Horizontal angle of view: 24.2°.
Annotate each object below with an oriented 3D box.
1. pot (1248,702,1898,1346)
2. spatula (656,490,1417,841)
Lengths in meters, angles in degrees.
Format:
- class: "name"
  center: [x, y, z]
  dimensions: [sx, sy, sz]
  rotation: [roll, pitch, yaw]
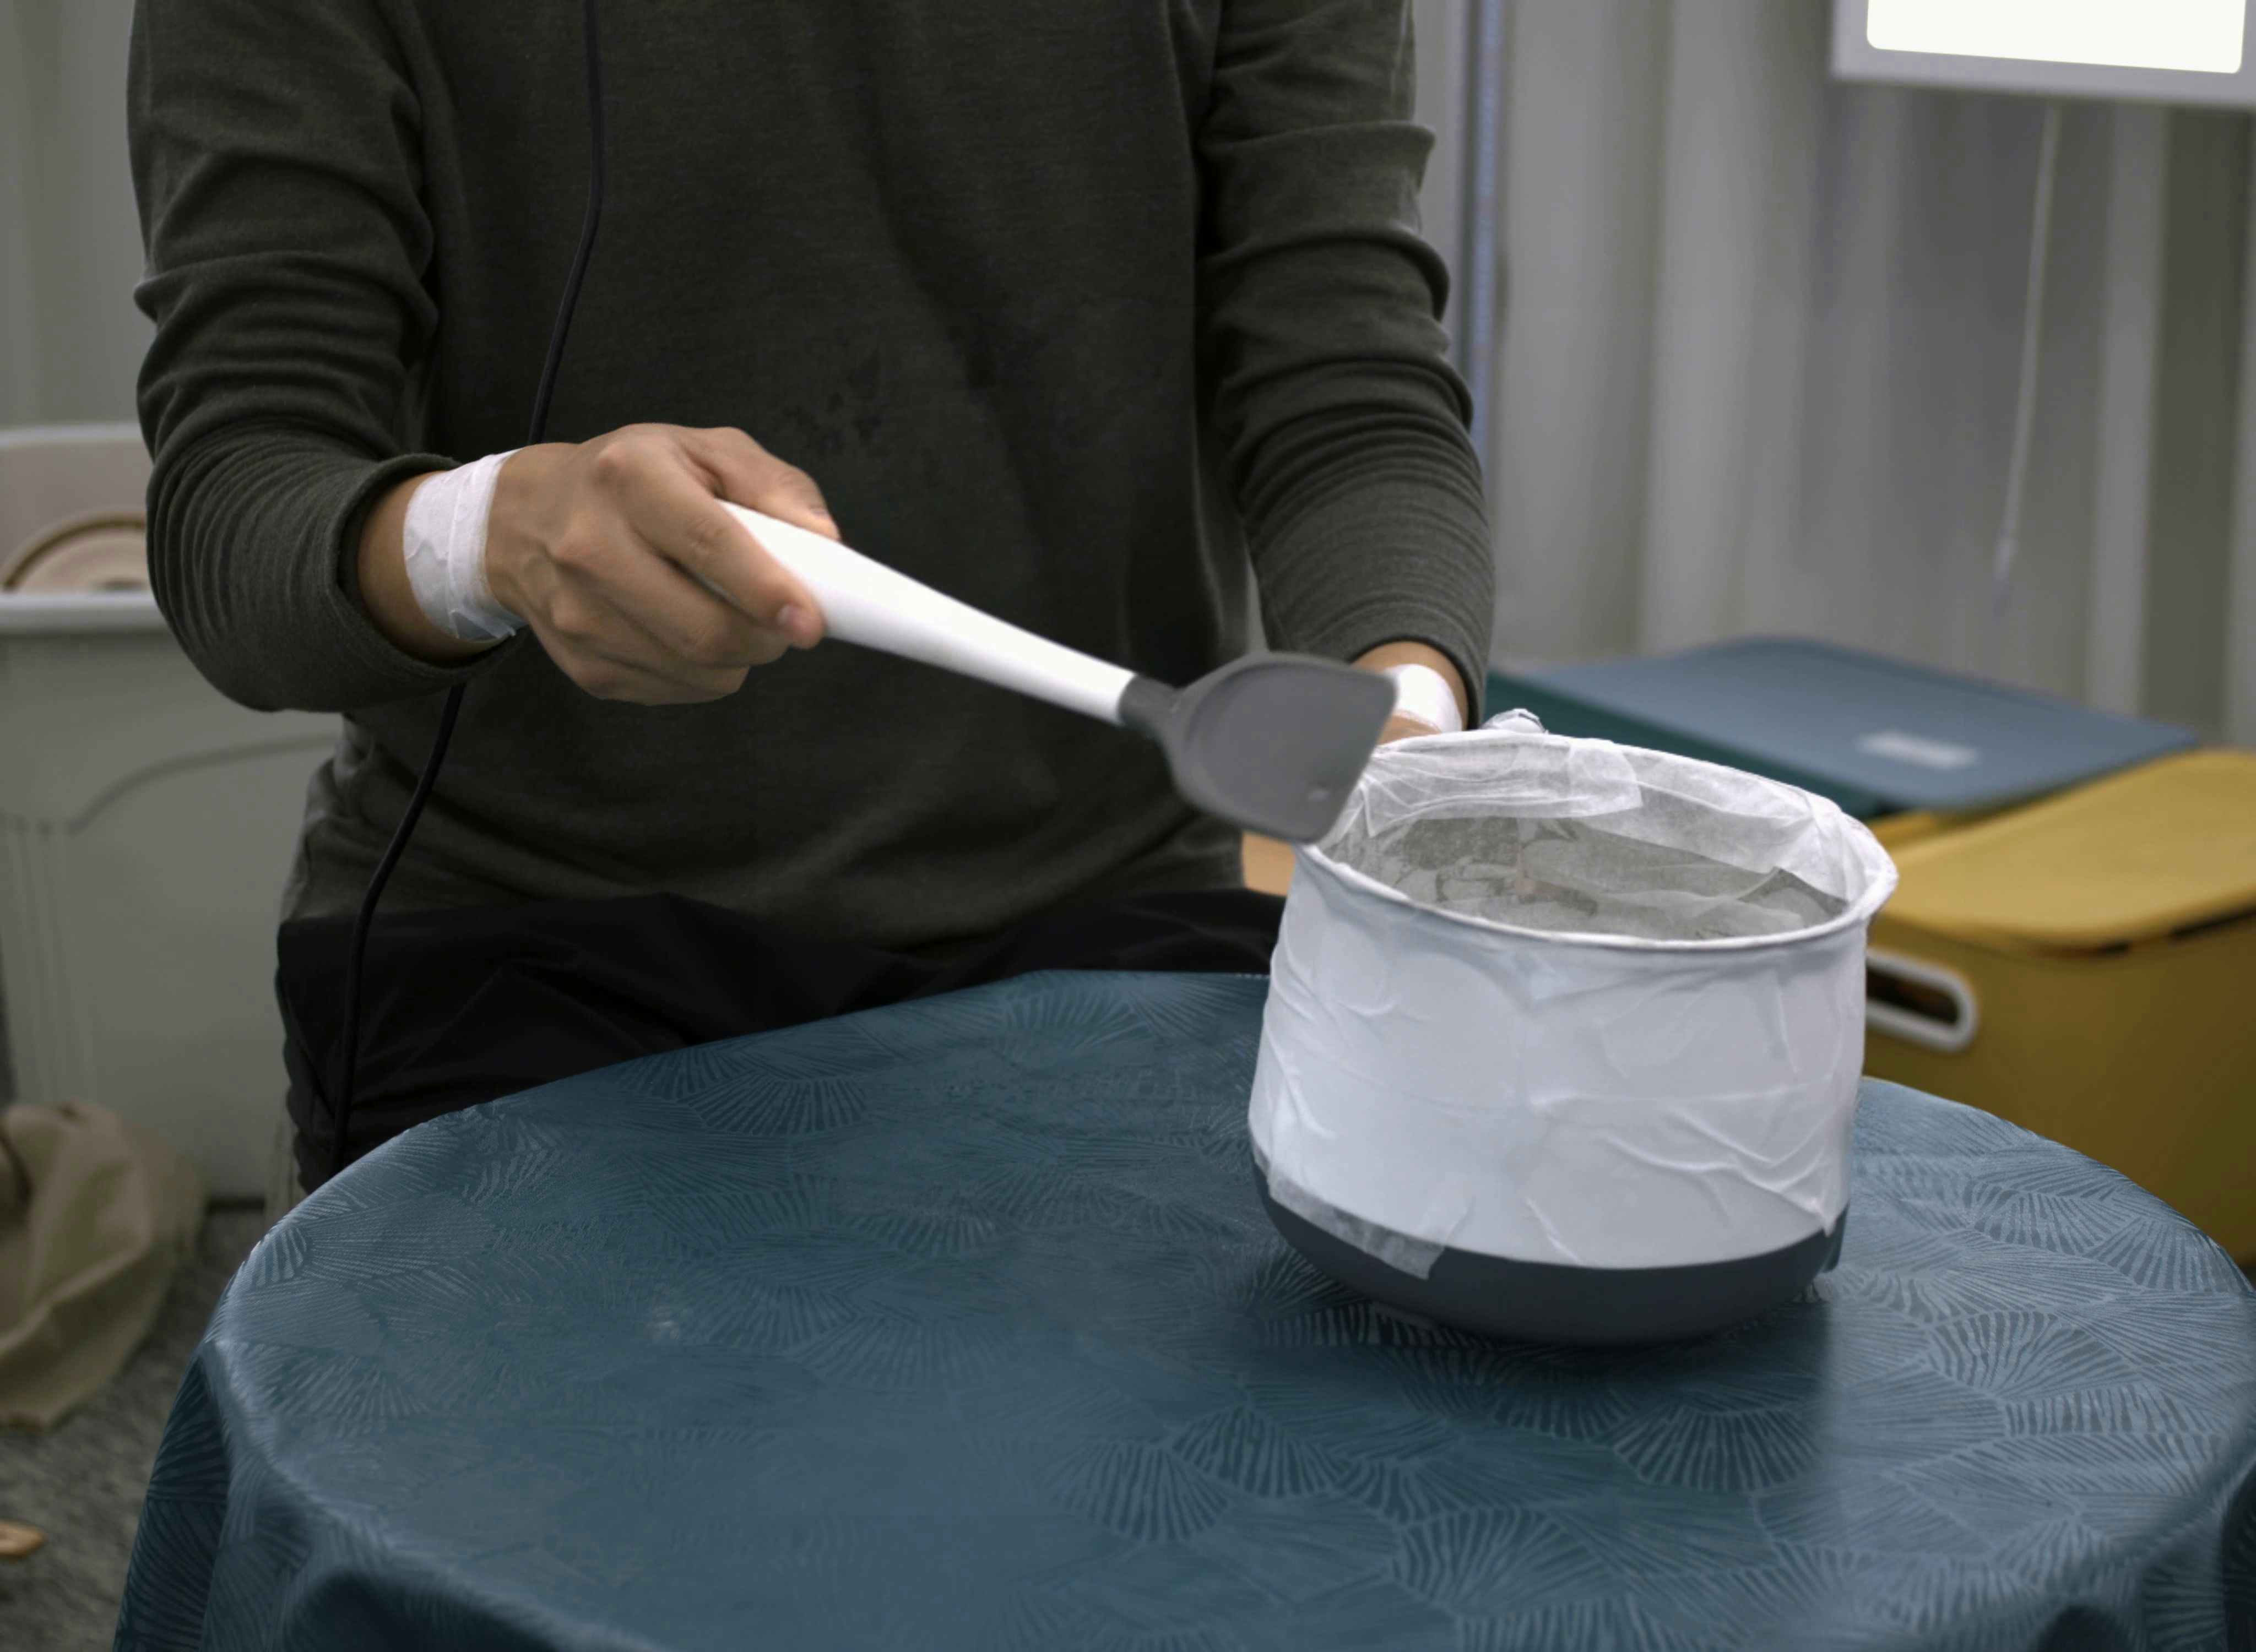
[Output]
- class: "pot"
  center: [0.121, 0.051, 1.546]
  dimensions: [0.179, 0.138, 0.231]
  rotation: [2, 20, -10]
- class: "spatula"
  center: [-0.028, -0.051, 1.483]
  dimensions: [0.283, 0.058, 0.032]
  rotation: [19, -15, 41]
